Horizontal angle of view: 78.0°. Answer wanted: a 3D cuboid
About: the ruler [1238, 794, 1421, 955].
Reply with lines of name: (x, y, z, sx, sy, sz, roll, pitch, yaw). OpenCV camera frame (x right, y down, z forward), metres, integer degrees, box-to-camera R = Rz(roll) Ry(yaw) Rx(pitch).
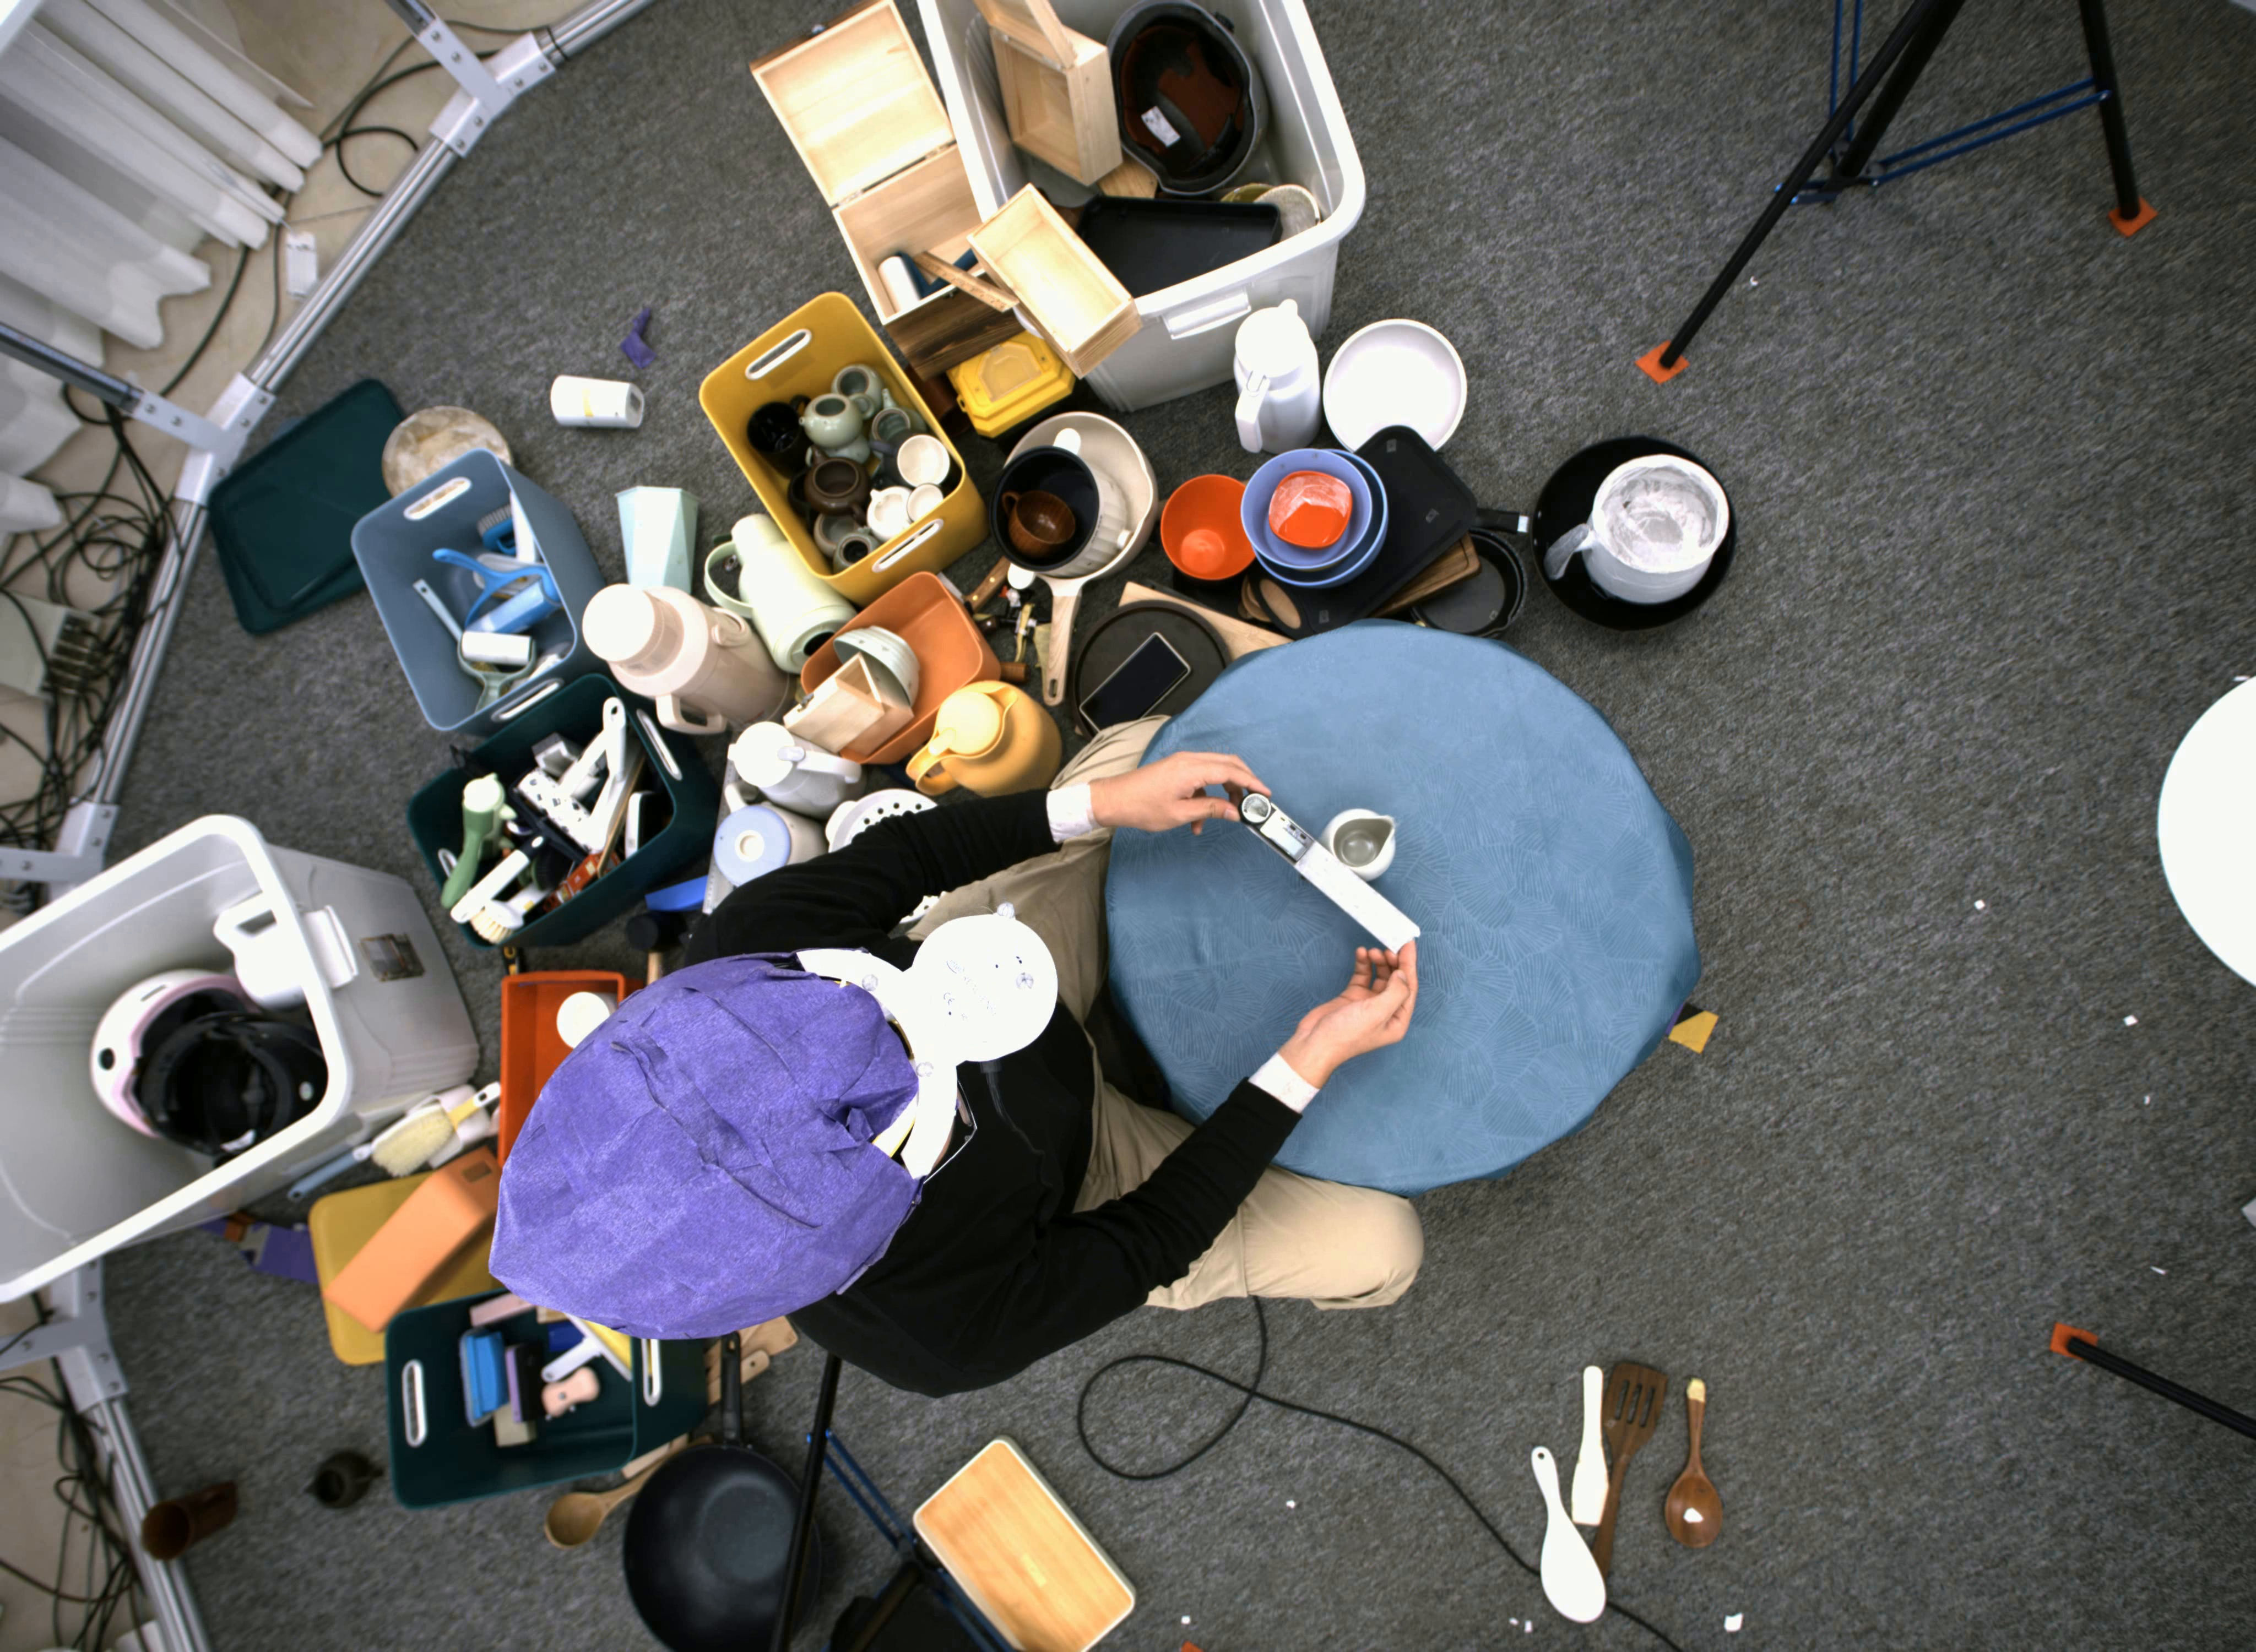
ruler: (0.197, 0.044, 1.372, 0.218, 0.024, 0.038, 40, 92, 4)

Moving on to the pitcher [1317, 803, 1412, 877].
pitcher: (0.239, 0.018, 1.425, 0.120, 0.088, 0.075, -27, 78, 6)
